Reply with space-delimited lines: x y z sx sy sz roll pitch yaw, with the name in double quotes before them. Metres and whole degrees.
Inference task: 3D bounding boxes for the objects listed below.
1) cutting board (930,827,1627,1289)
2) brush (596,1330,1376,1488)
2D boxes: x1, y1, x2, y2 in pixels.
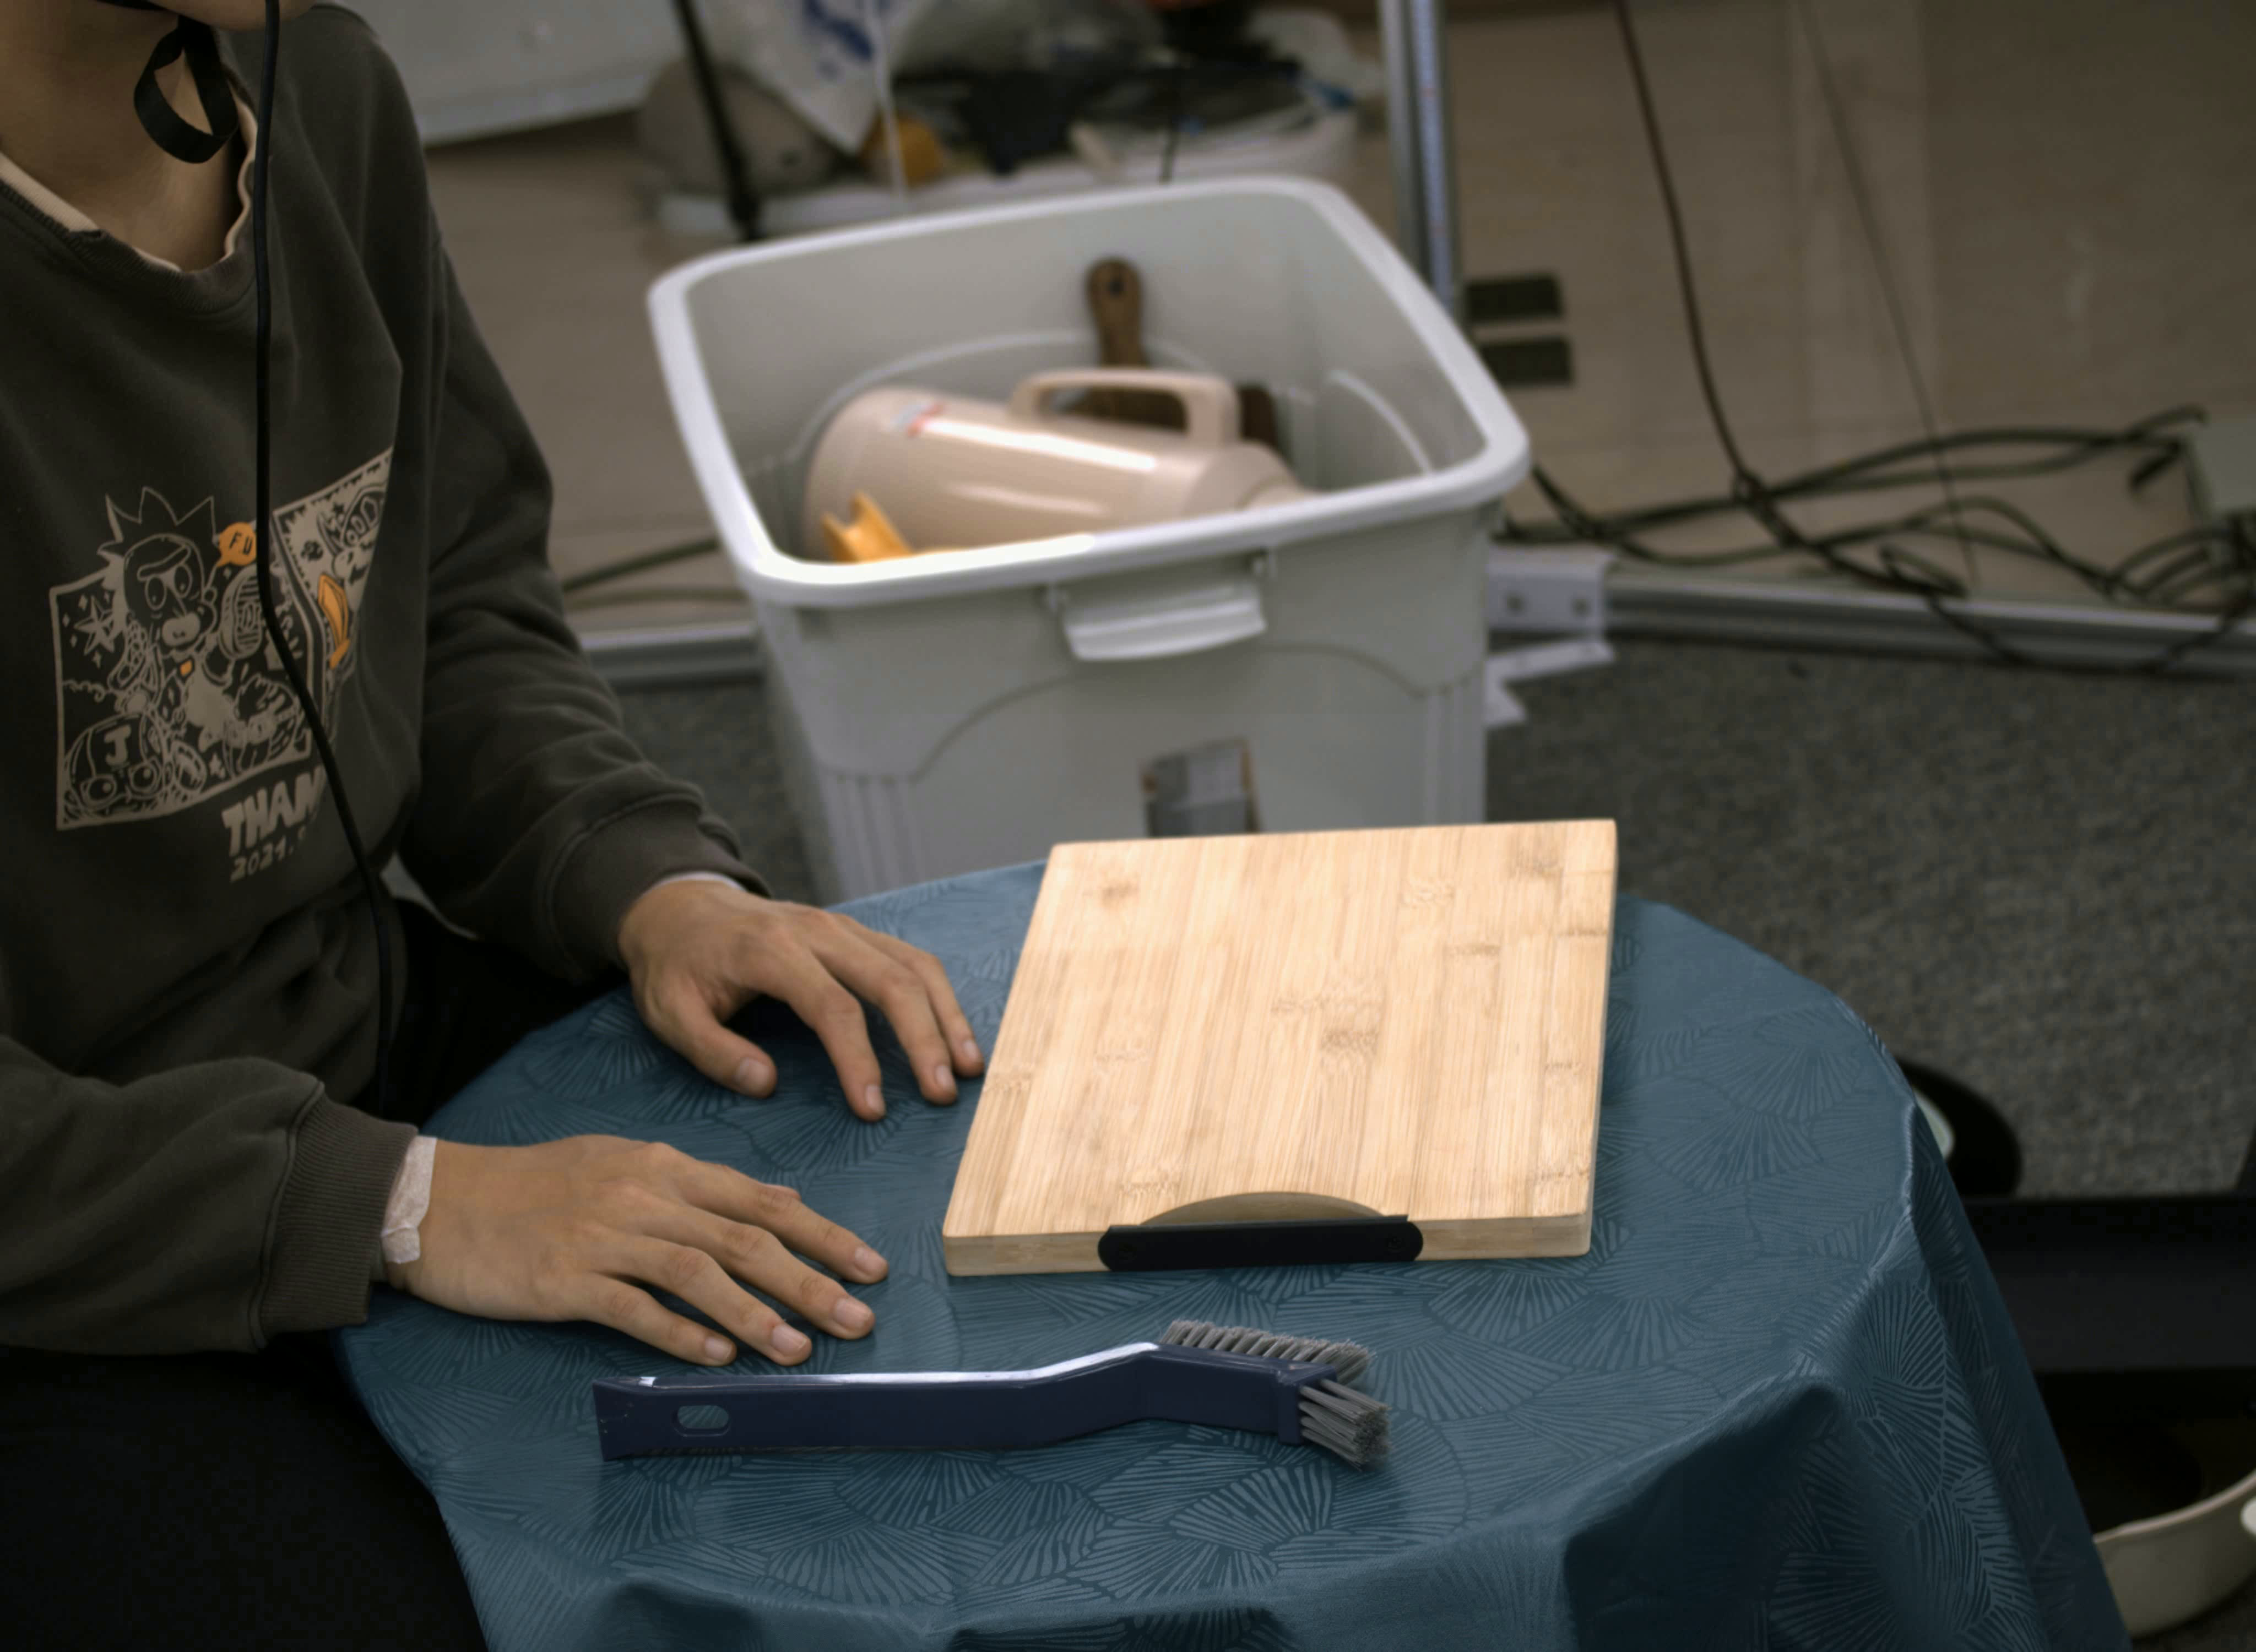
"cutting board" 0.067 0.085 2.225 0.250 0.024 0.343 -4 25 8
"brush" -0.052 0.205 1.981 0.273 0.034 0.094 -5 25 2
